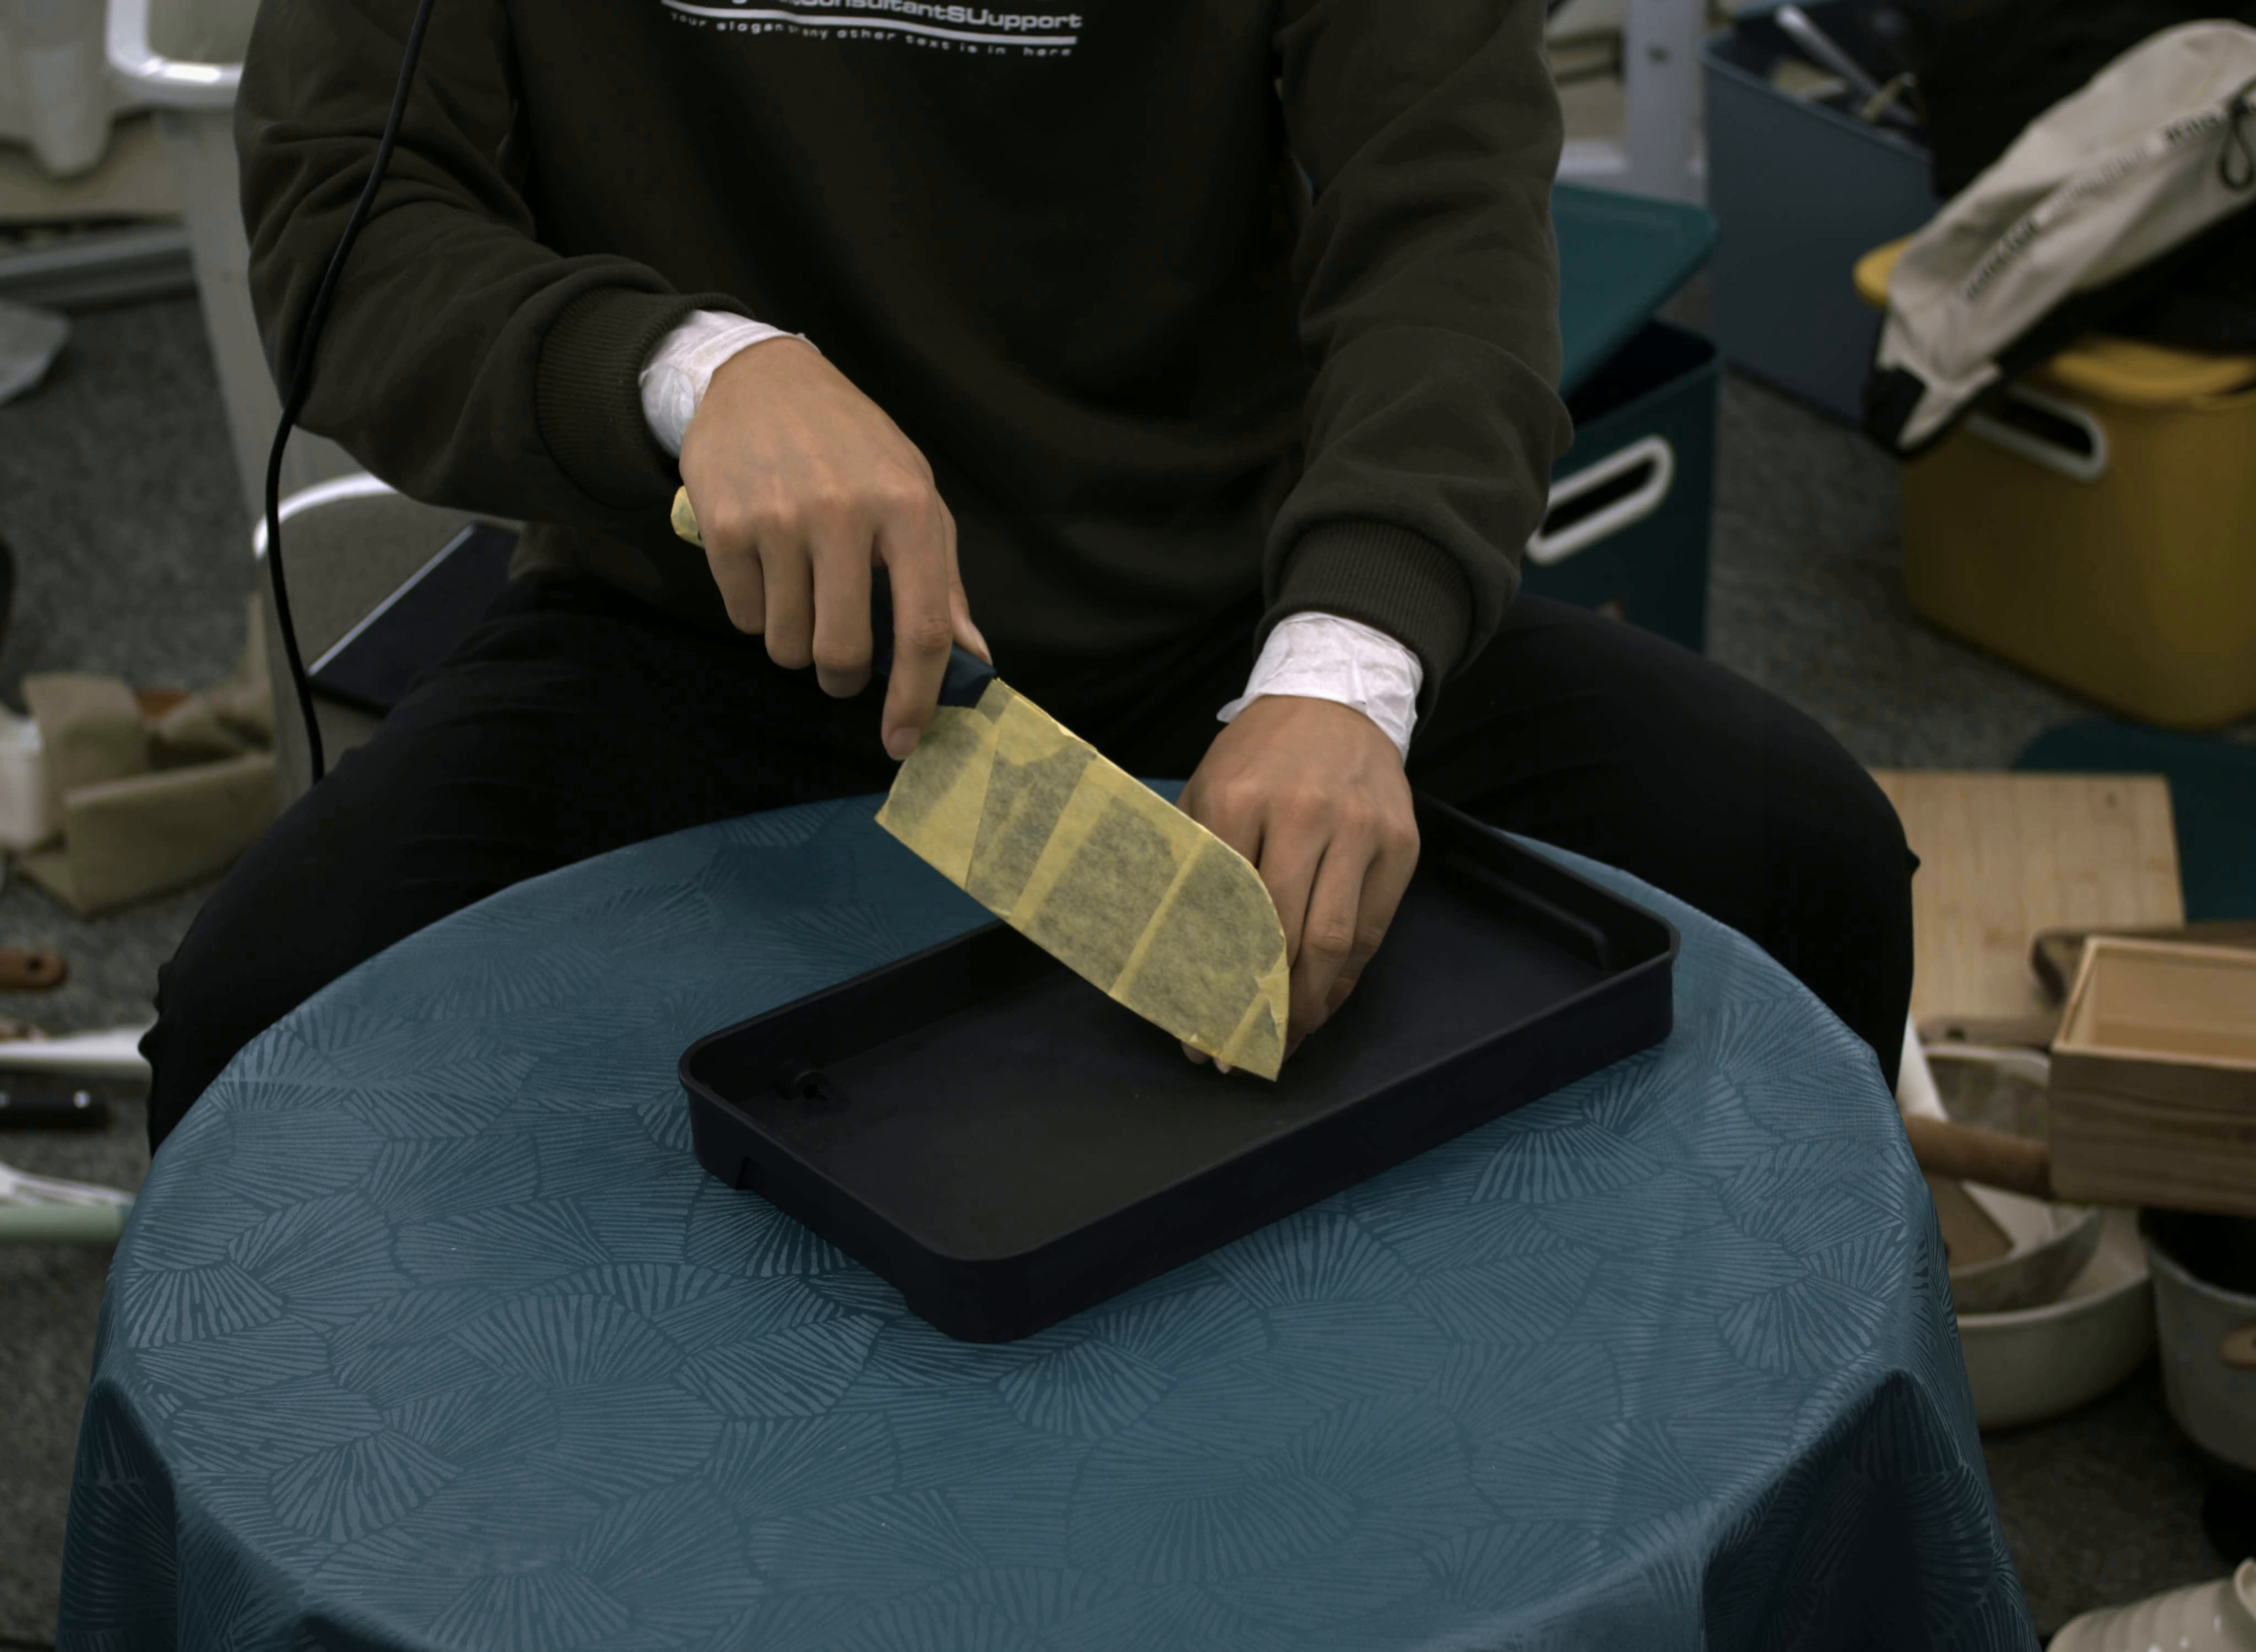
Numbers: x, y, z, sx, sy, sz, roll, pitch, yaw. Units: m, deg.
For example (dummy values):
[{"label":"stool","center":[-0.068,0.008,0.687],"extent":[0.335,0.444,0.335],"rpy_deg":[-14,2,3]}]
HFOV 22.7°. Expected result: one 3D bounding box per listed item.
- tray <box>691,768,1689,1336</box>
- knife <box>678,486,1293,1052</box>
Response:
[{"label":"tray","center":[0.024,0.071,1.917],"extent":[0.321,0.036,0.184],"rpy_deg":[-23,33,-34]},{"label":"knife","center":[-0.053,-0.020,1.939],"extent":[0.290,0.080,0.027],"rpy_deg":[40,21,18]}]
